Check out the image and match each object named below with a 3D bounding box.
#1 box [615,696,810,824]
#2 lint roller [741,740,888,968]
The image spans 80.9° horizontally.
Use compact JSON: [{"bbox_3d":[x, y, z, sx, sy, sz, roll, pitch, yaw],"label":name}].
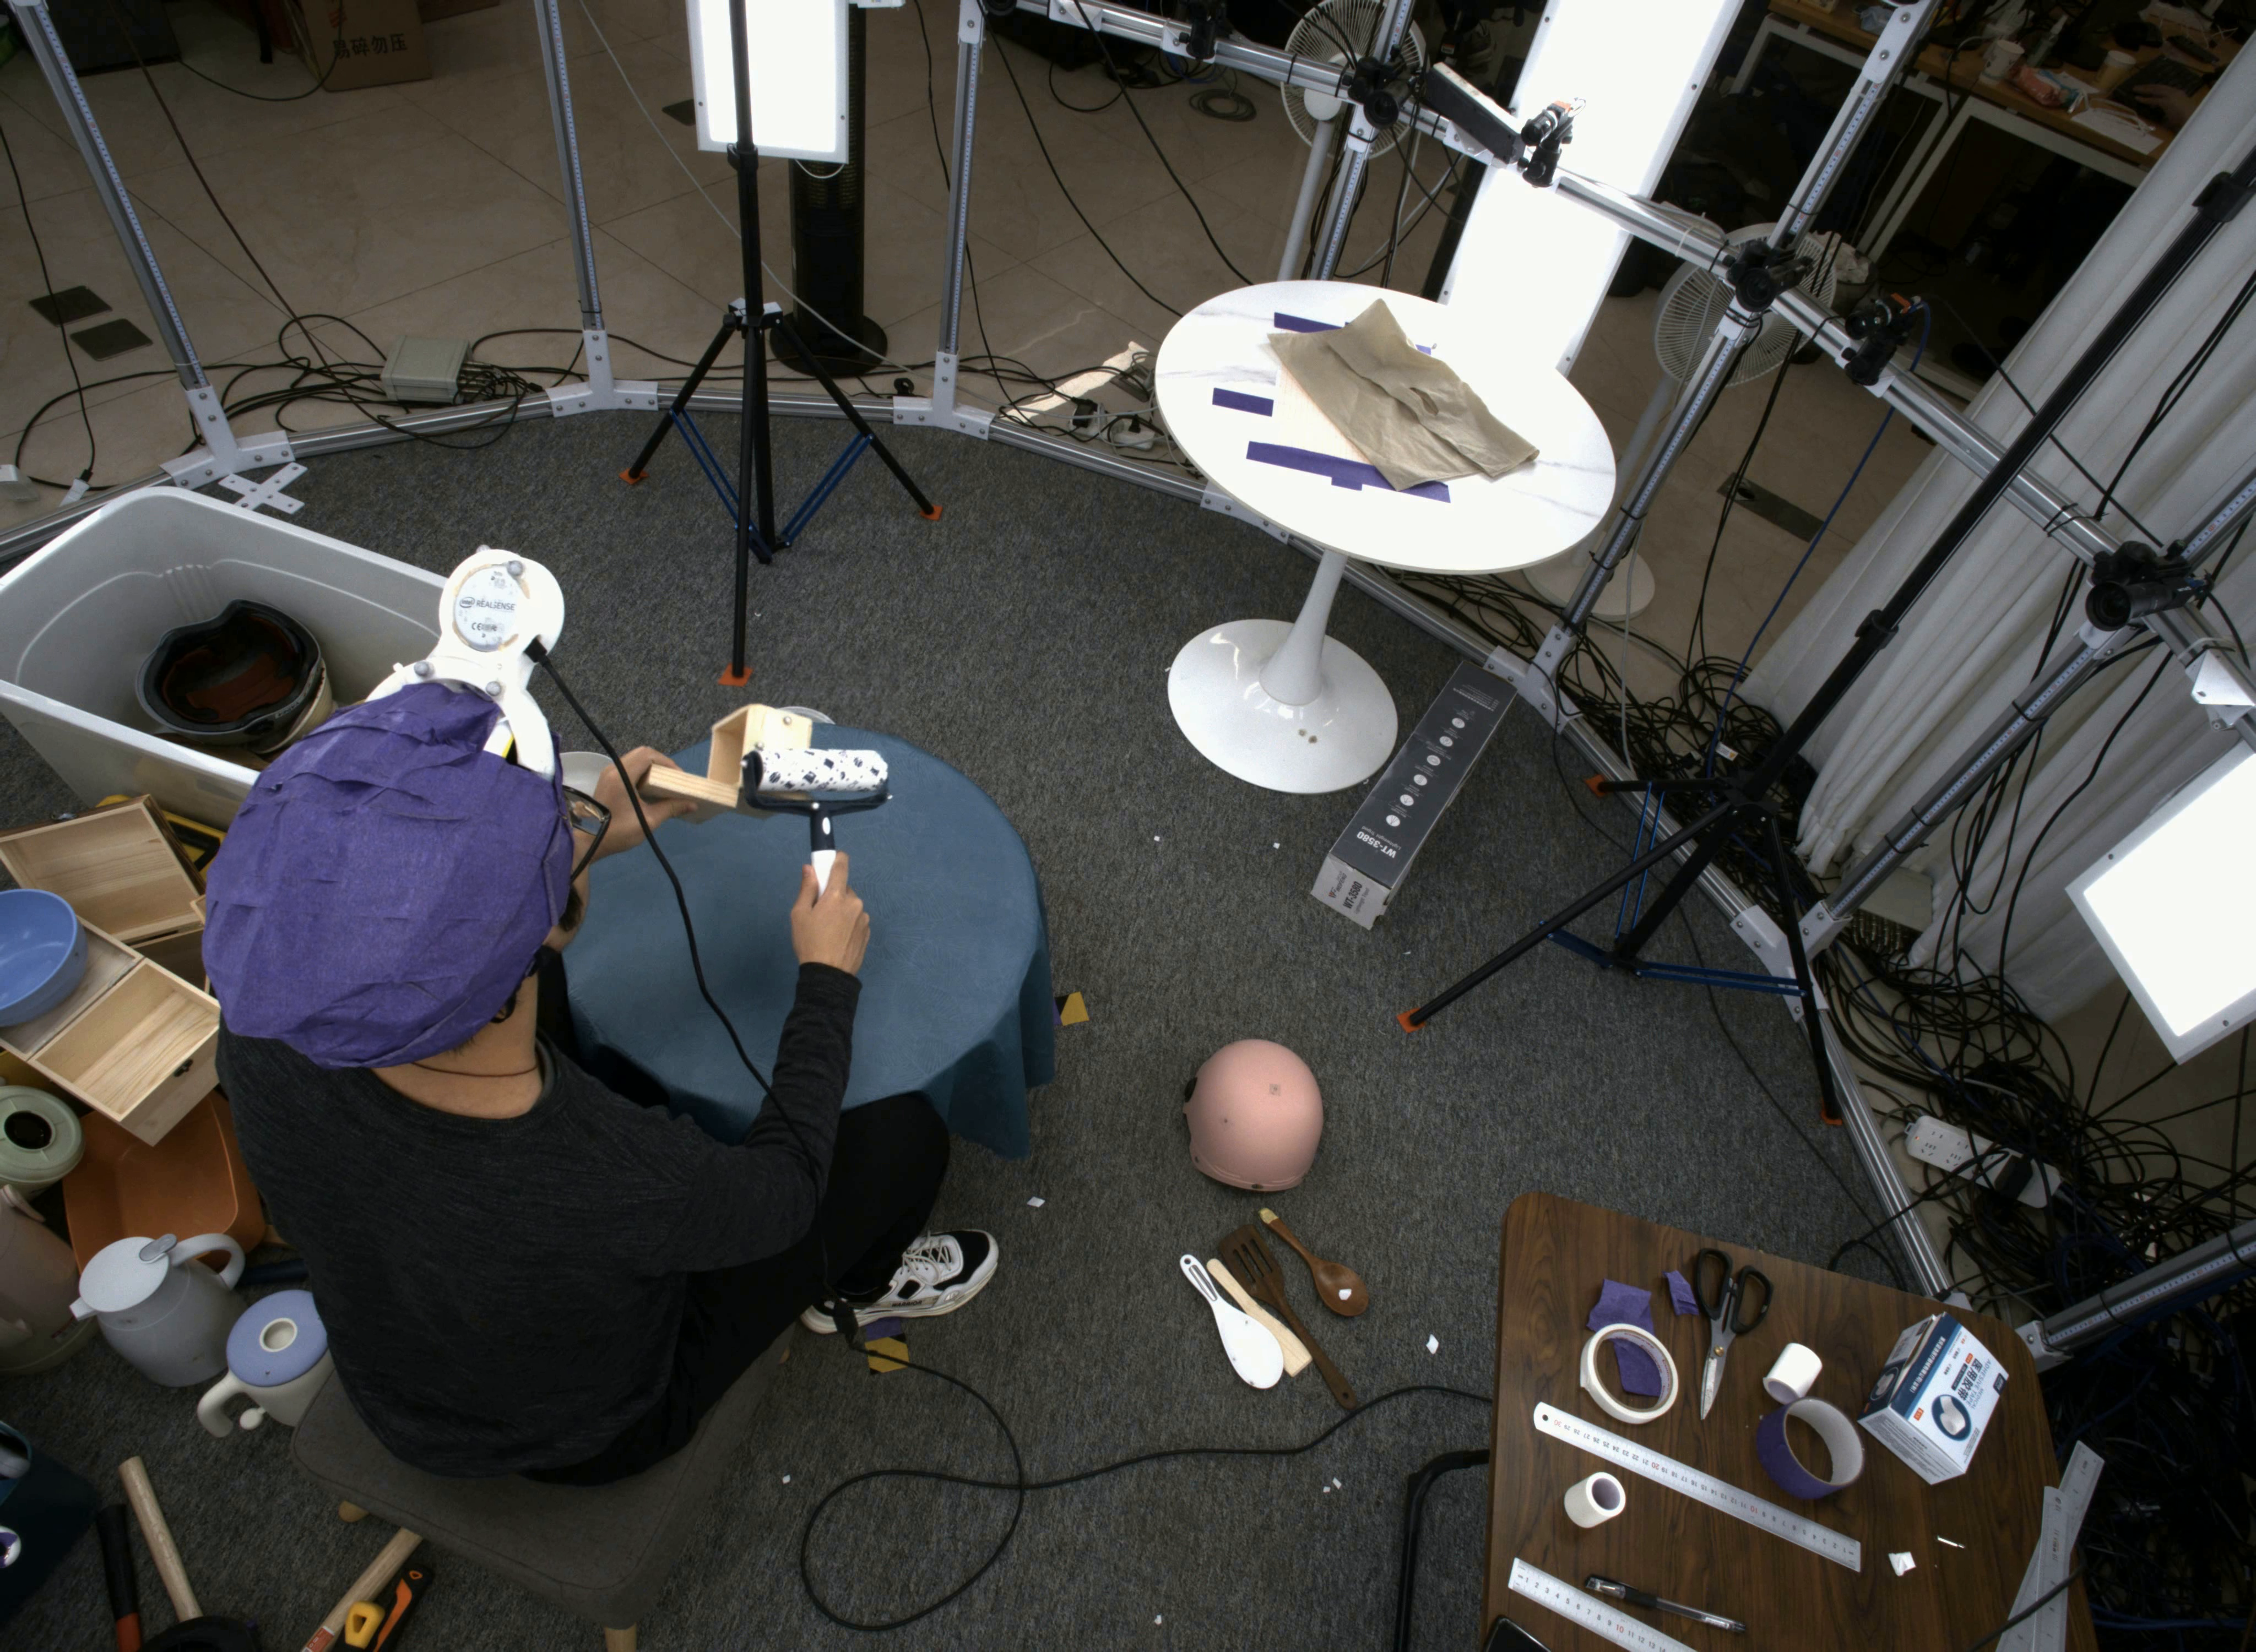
[{"bbox_3d":[-0.466,-0.079,1.443,0.189,0.100,0.133,15,68,-38],"label":"box"},{"bbox_3d":[-0.337,0.030,1.446,0.180,0.049,0.249,-3,85,-47],"label":"lint roller"}]
